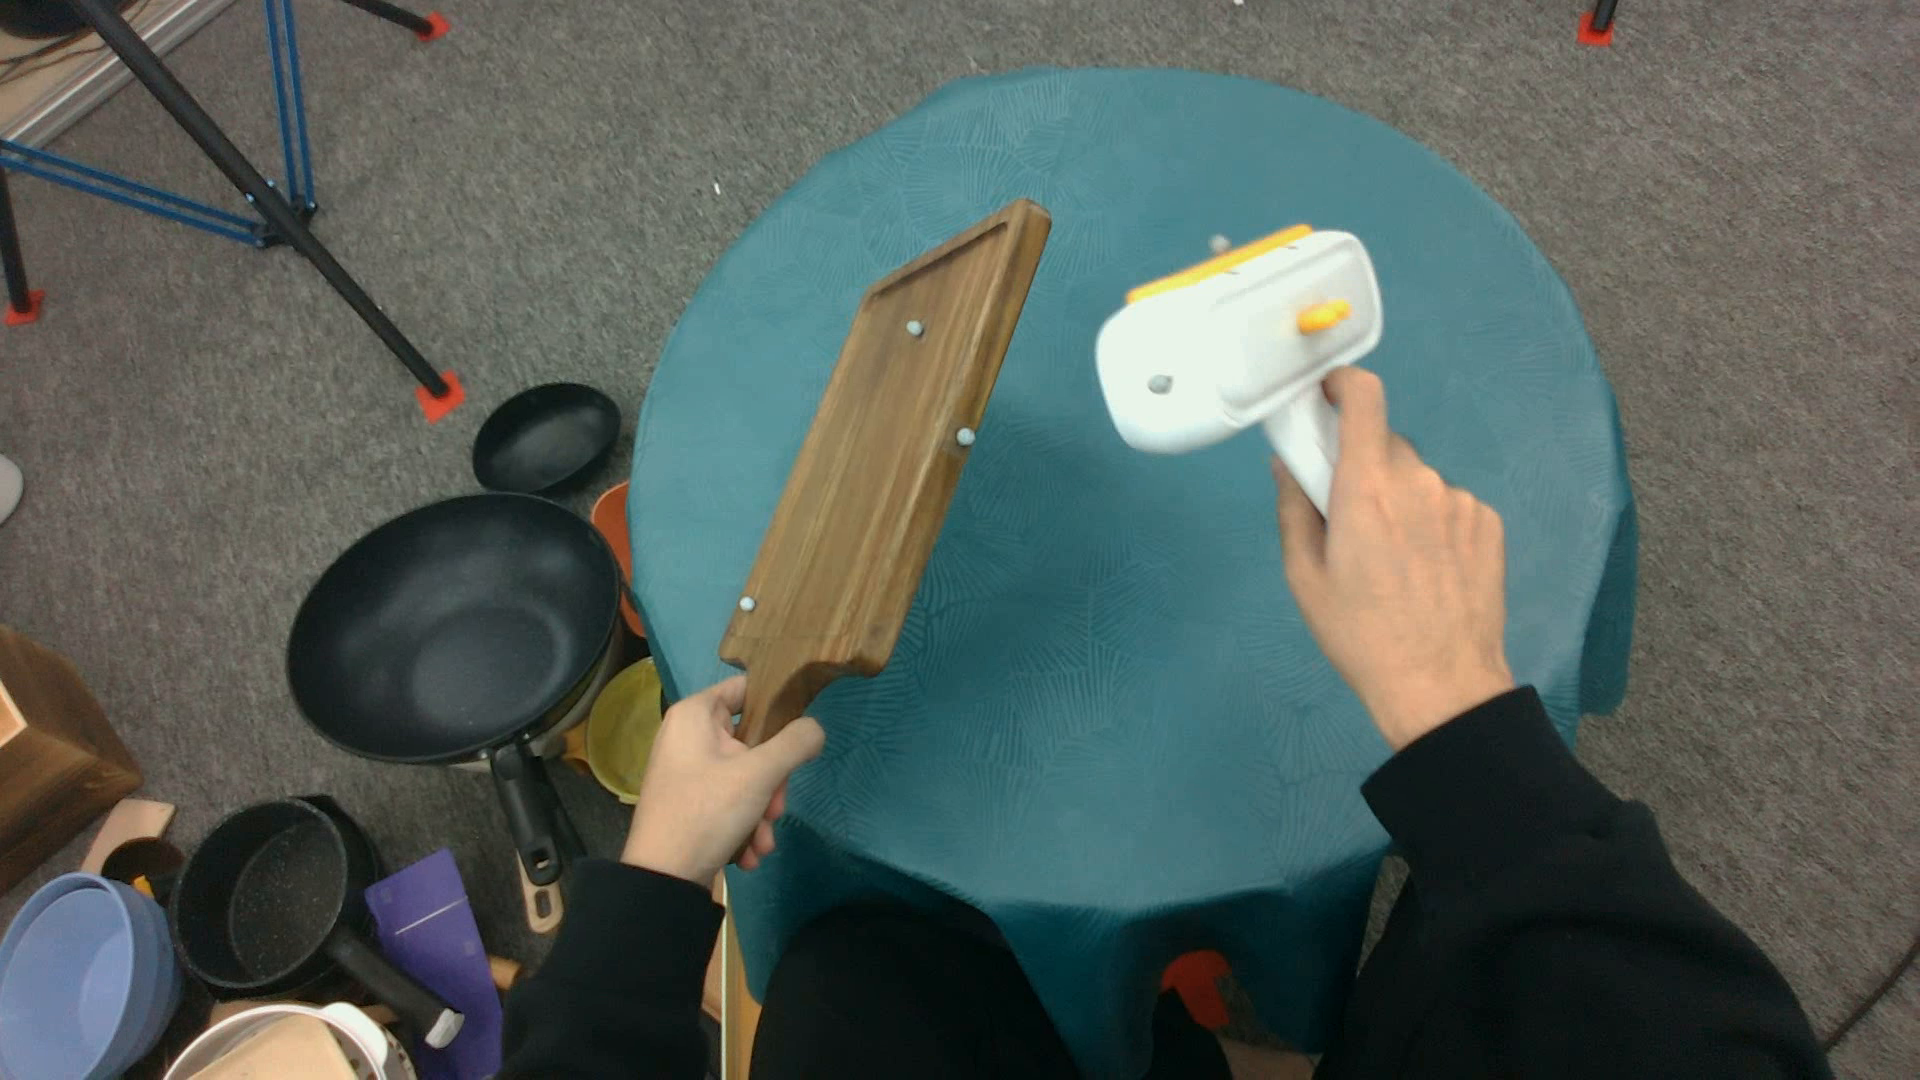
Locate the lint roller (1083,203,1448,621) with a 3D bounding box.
[{"bbox_3d":[0.148,-0.047,0.604,0.074,0.192,0.194,-21,10,37],"label":"lint roller"}]

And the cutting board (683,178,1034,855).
[{"bbox_3d":[-0.070,-0.011,0.716,0.023,0.200,0.353,27,73,-26],"label":"cutting board"}]
